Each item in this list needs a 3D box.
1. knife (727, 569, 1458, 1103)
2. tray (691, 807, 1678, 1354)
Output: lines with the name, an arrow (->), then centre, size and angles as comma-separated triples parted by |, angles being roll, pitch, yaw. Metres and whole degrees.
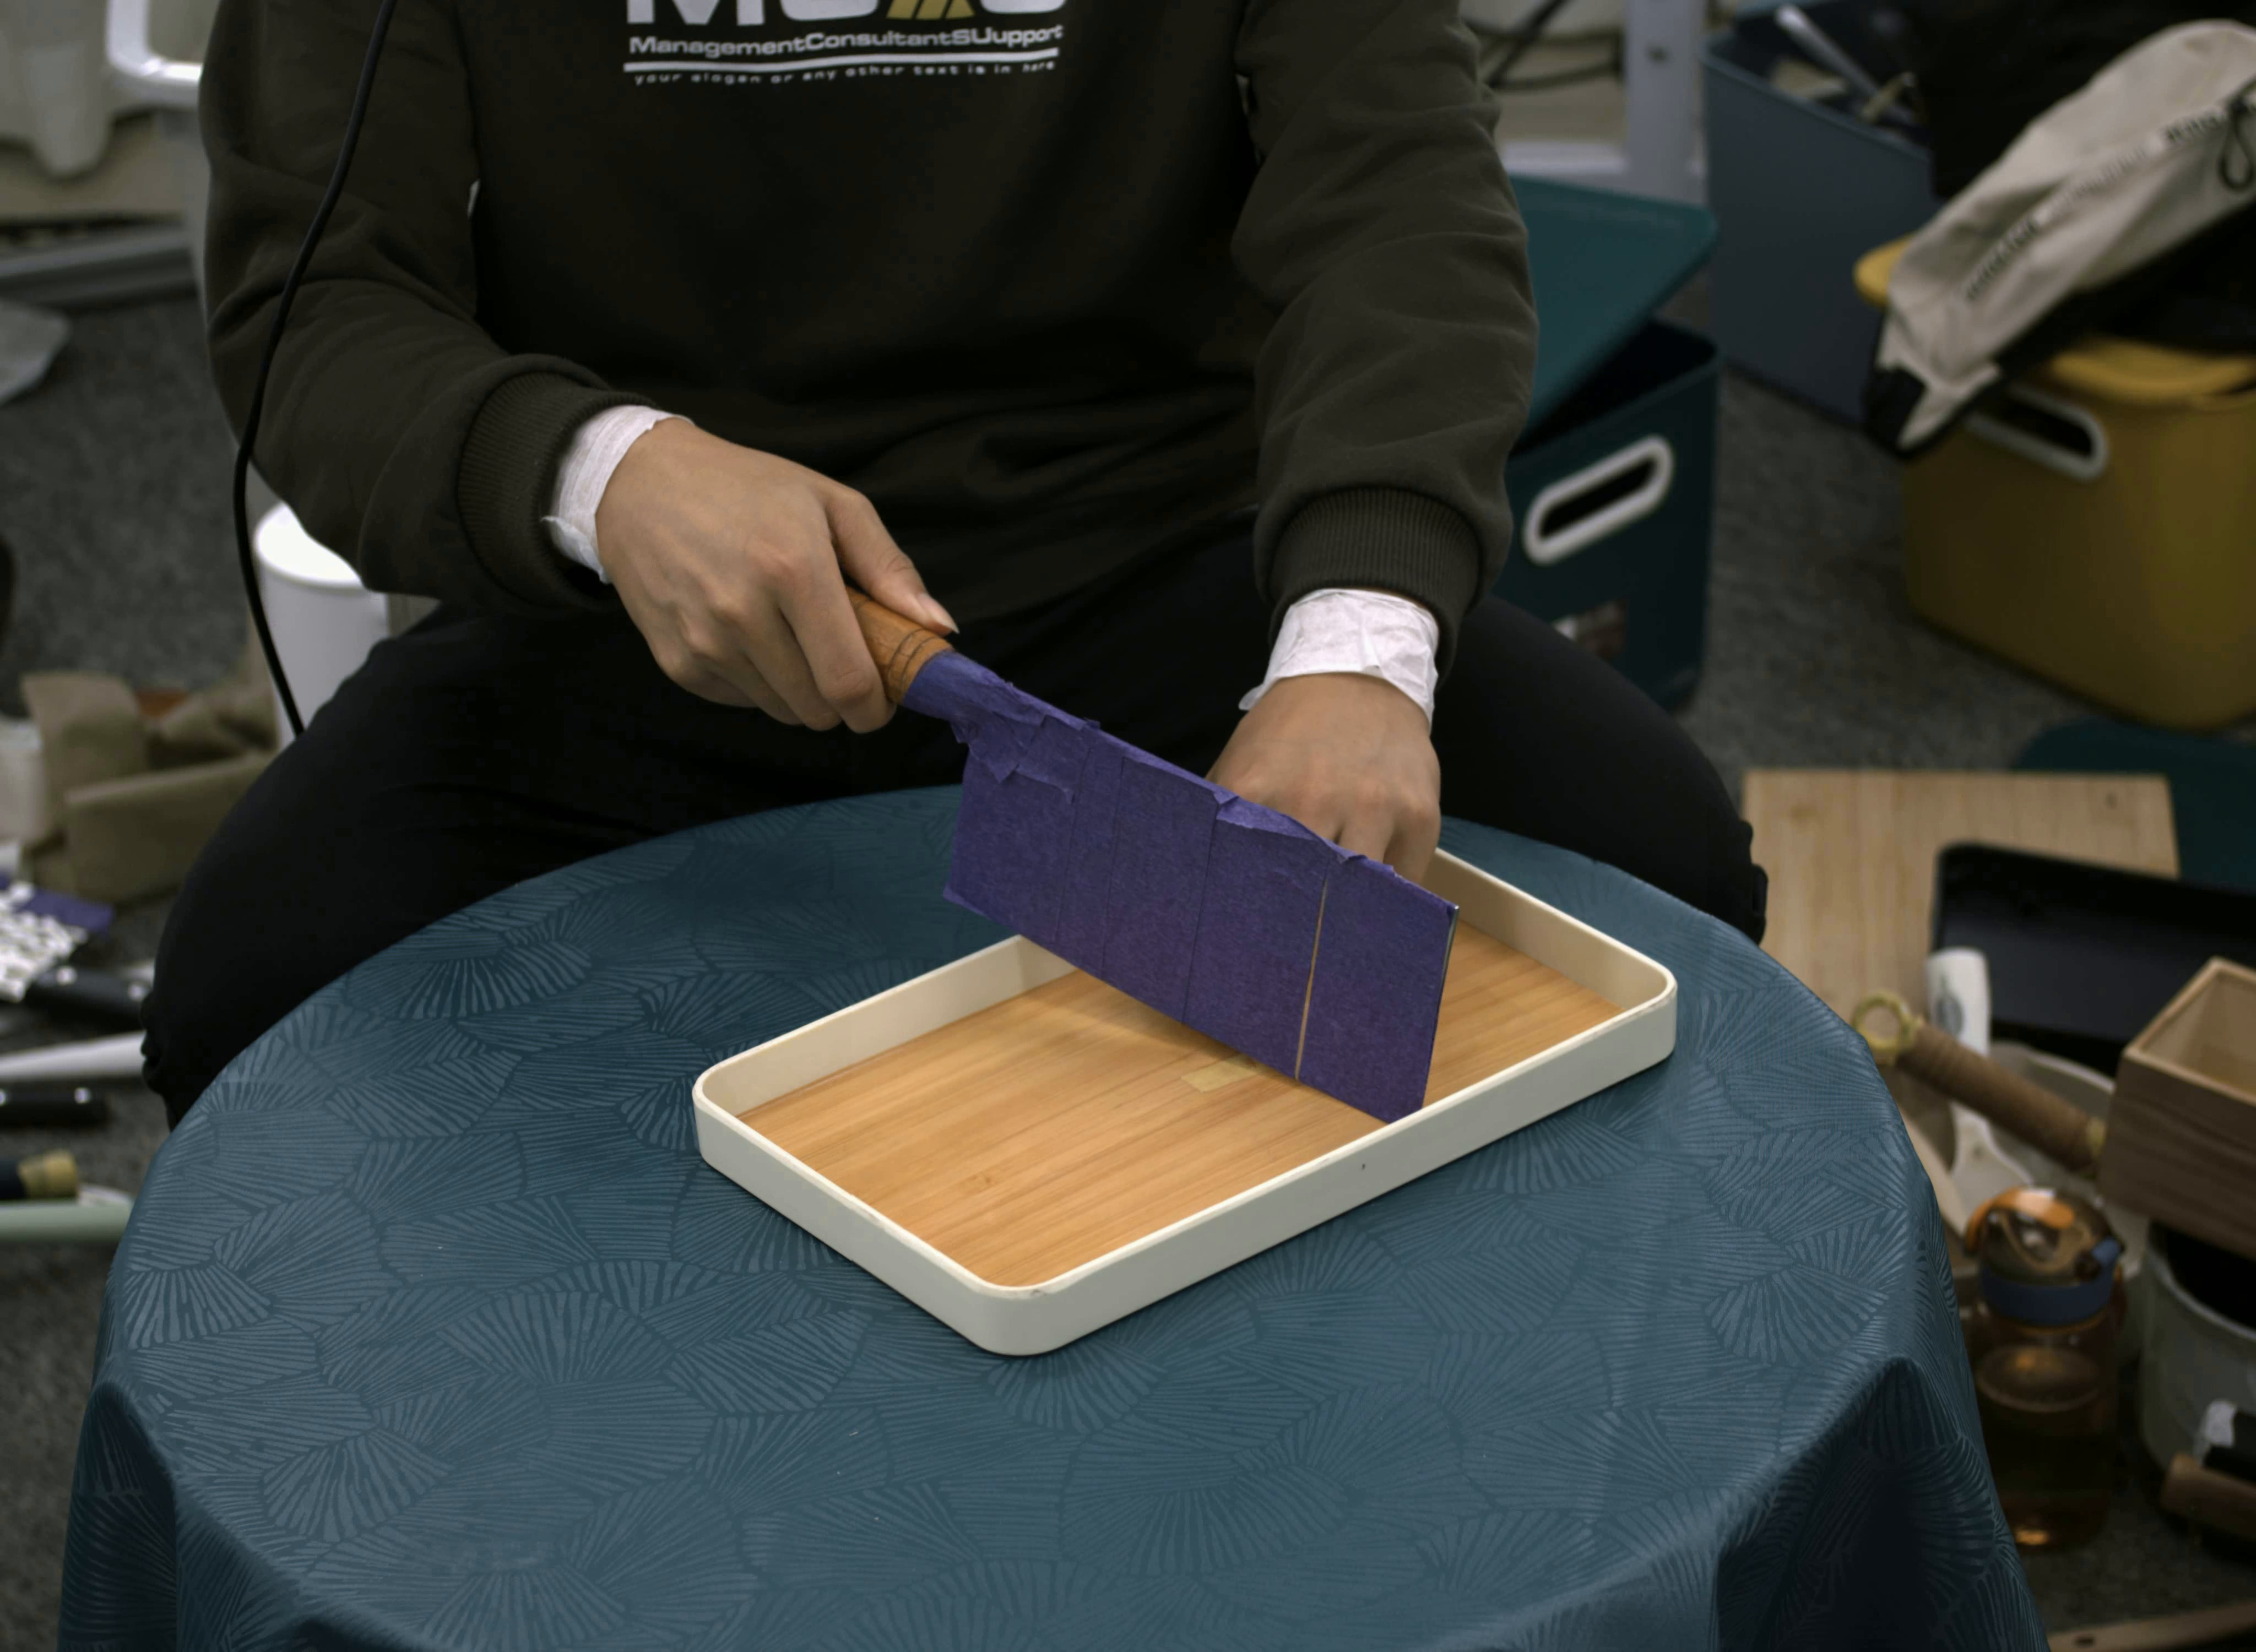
knife -> -0.020, 0.006, 1.932 | 0.315, 0.103, 0.032 | 26, 28, 33
tray -> 0.021, 0.081, 1.909 | 0.303, 0.027, 0.192 | -22, 33, -33
